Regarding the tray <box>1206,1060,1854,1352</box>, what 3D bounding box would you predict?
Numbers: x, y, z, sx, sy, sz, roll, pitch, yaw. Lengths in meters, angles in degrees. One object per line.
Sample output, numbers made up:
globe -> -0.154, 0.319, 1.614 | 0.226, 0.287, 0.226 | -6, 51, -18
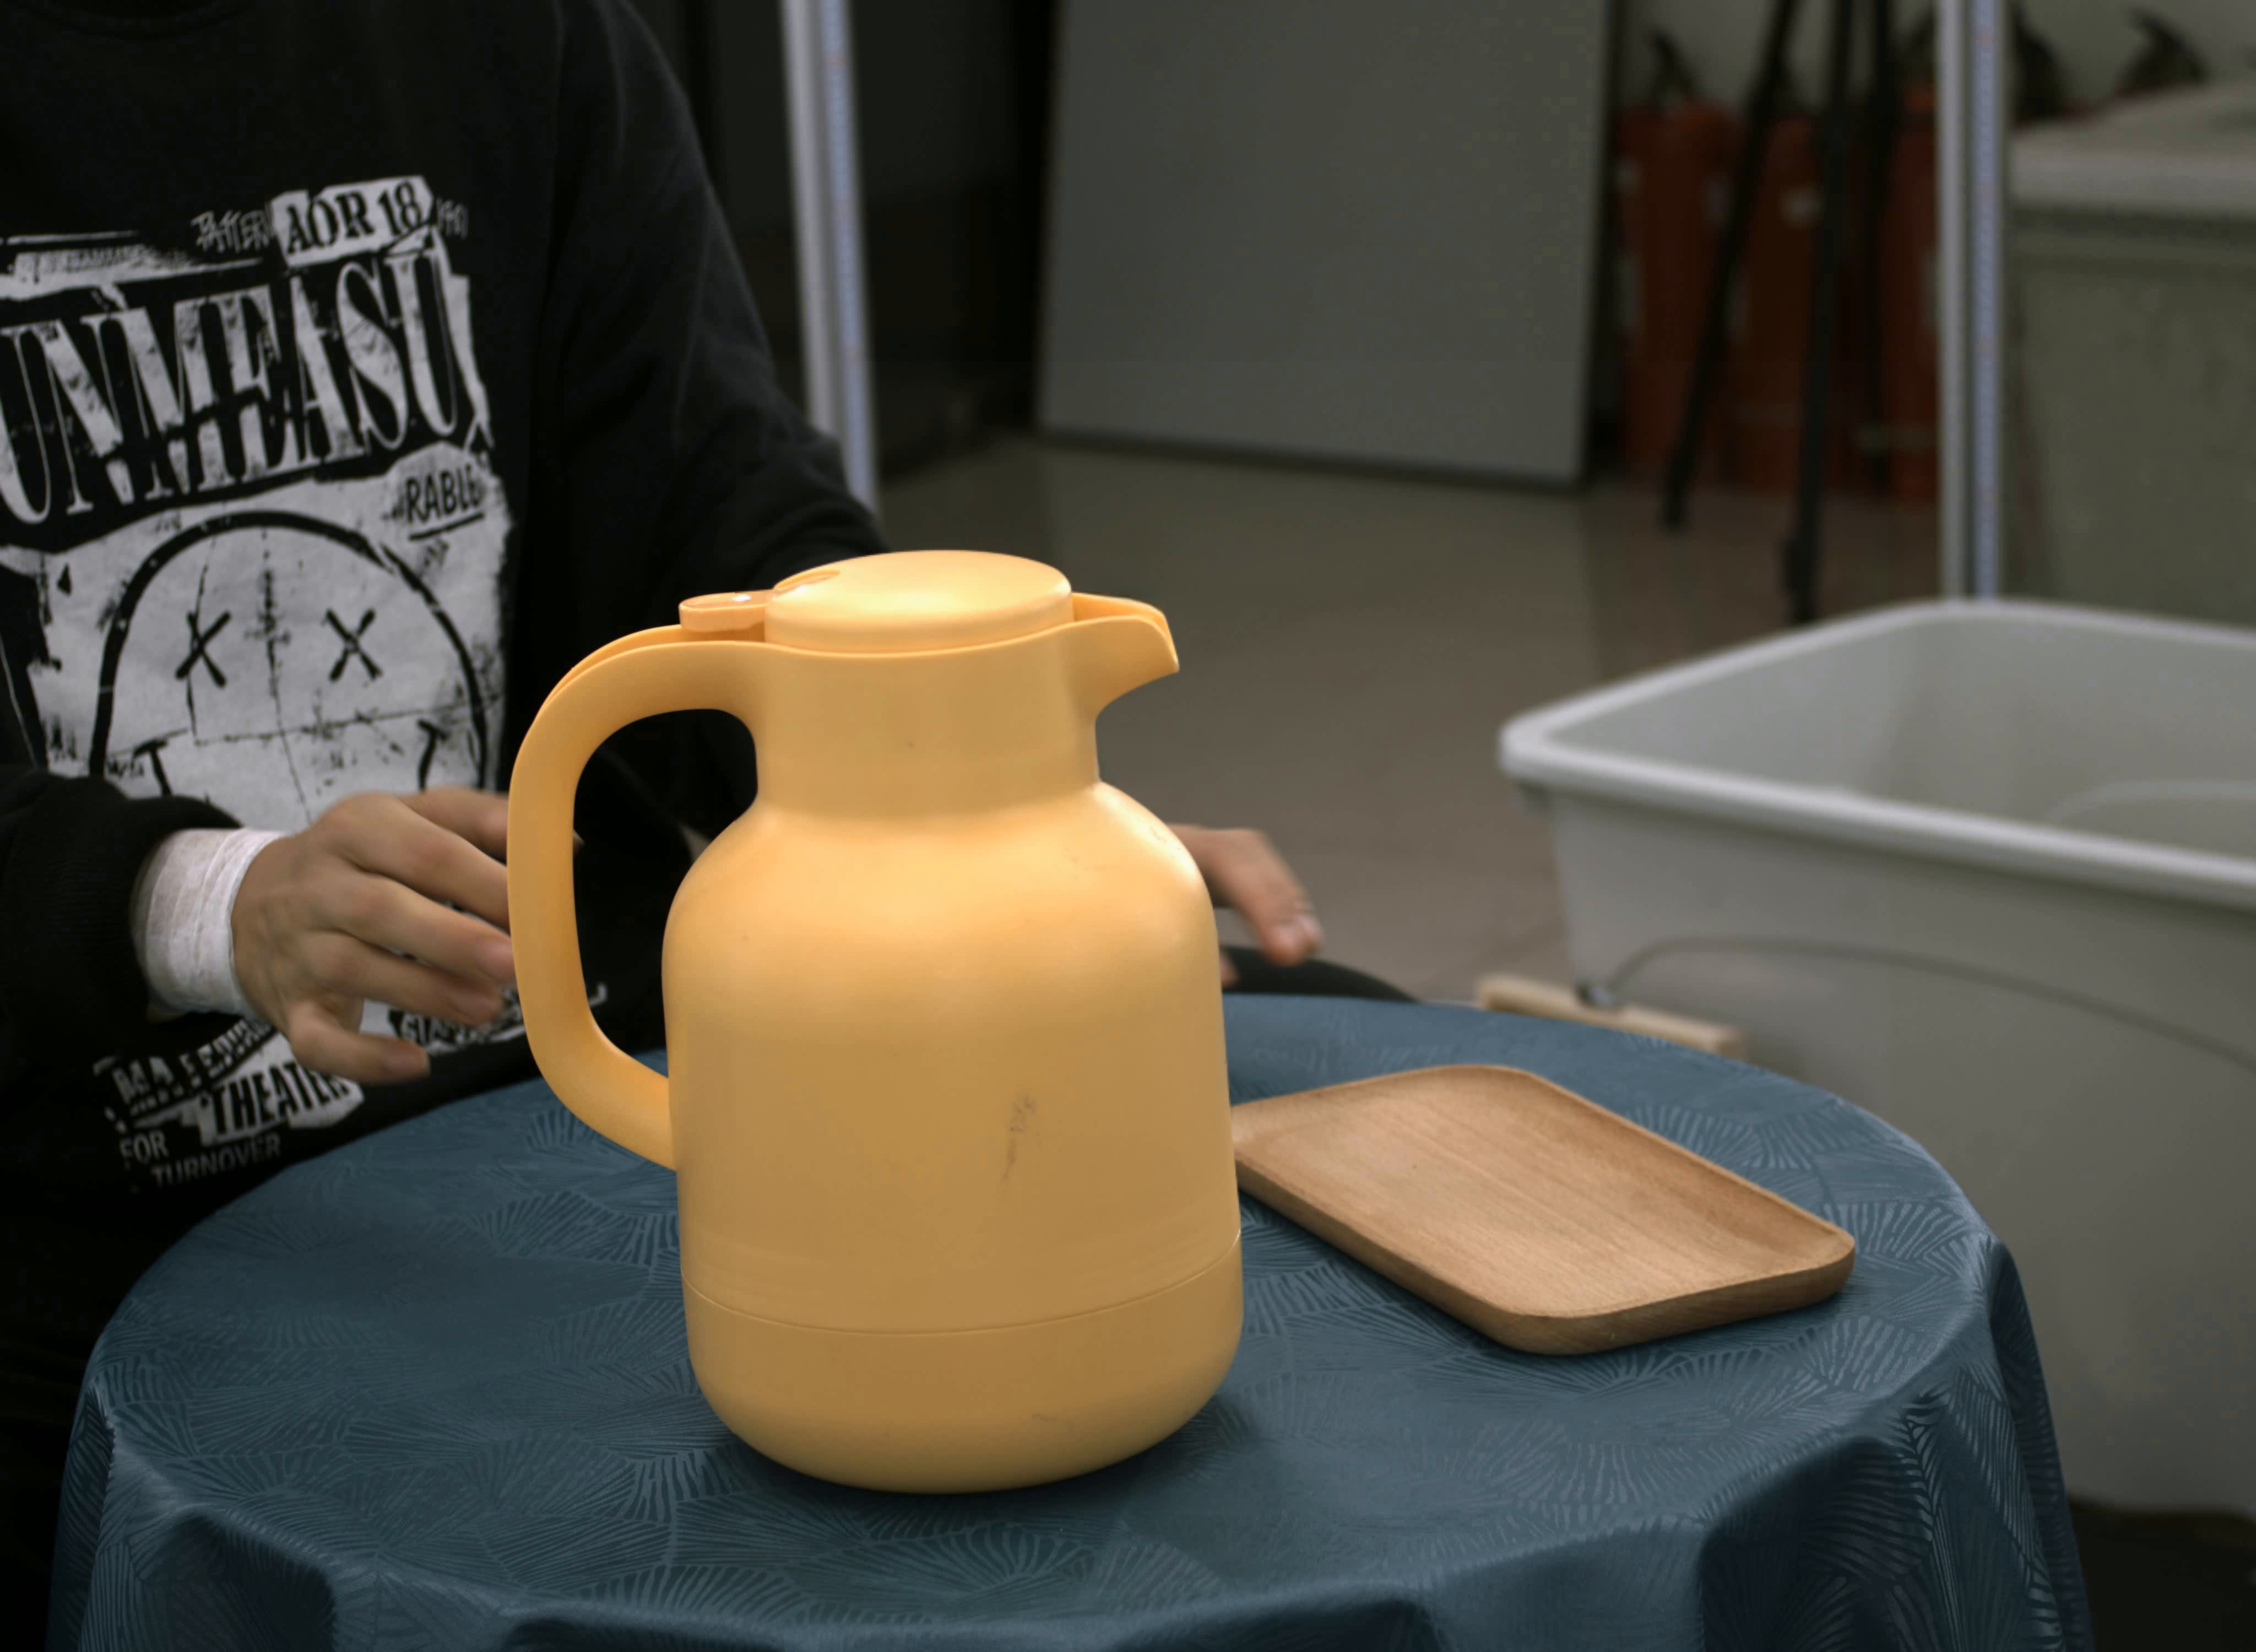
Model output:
tray -> 0.122, 0.118, 1.712 | 0.128, 0.023, 0.253 | -7, 13, -22

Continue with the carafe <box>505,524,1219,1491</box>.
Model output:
carafe -> -0.075, 0.047, 1.541 | 0.200, 0.263, 0.163 | 0, 11, 5
